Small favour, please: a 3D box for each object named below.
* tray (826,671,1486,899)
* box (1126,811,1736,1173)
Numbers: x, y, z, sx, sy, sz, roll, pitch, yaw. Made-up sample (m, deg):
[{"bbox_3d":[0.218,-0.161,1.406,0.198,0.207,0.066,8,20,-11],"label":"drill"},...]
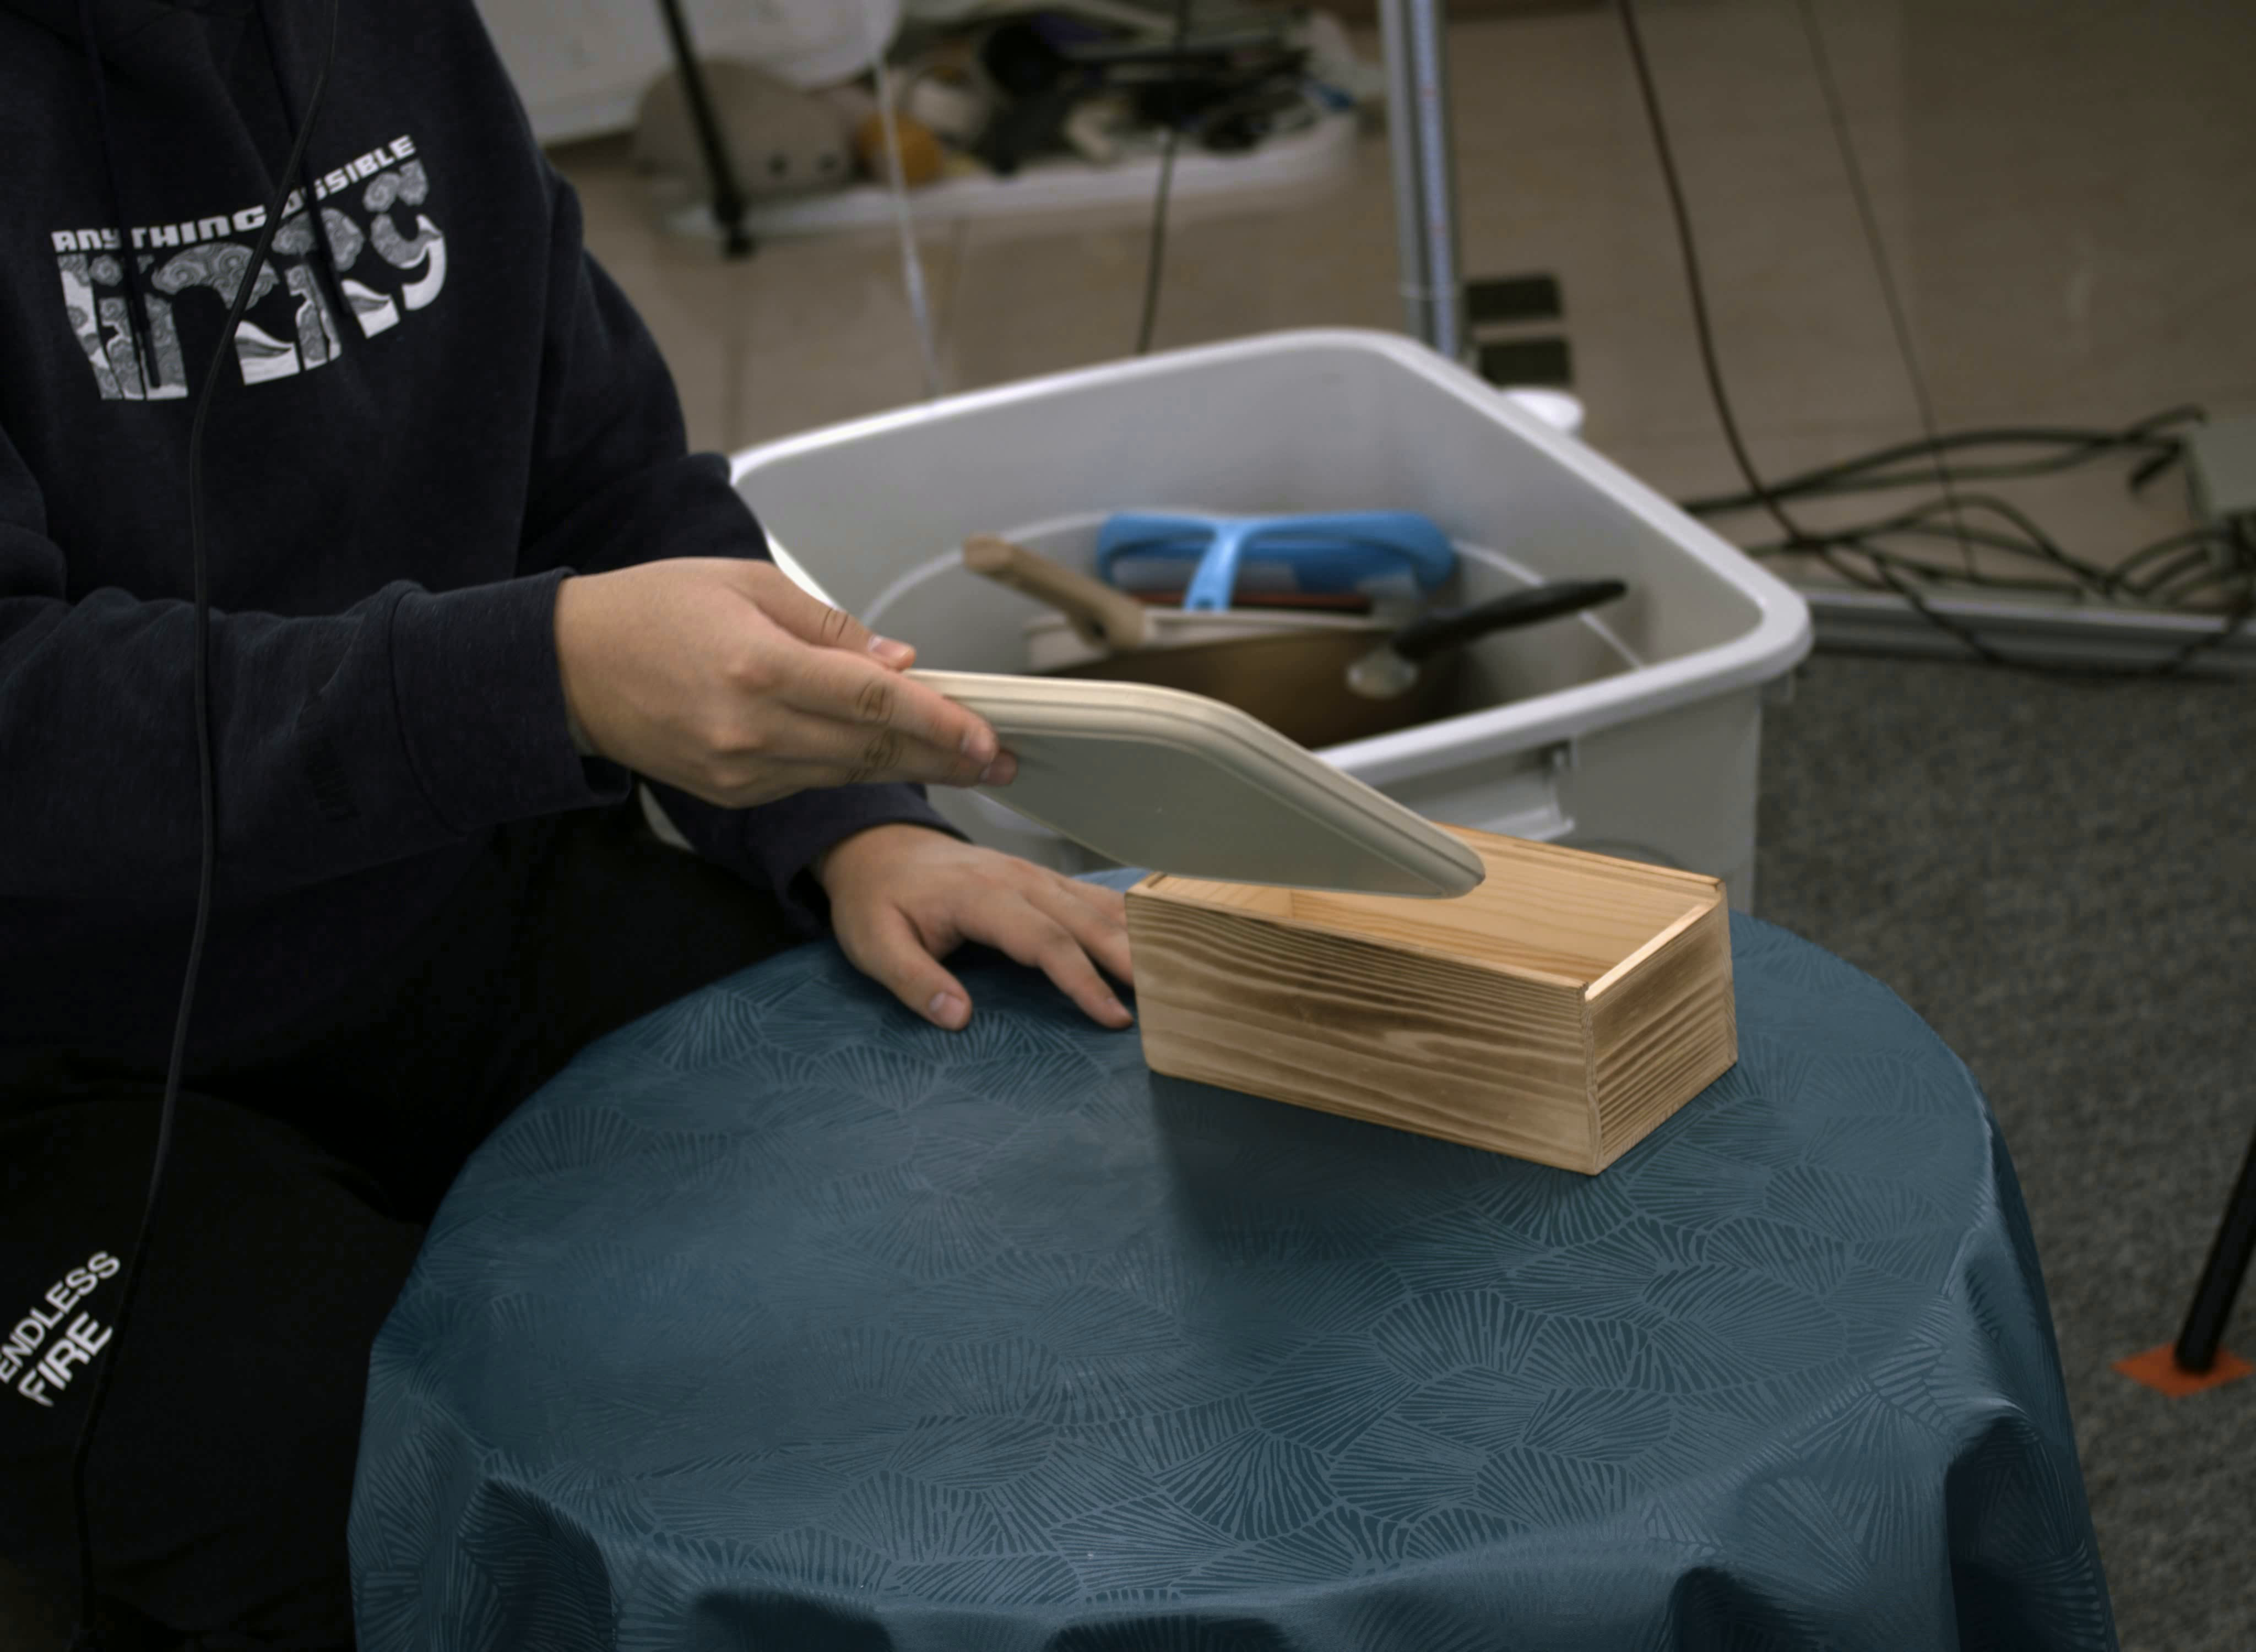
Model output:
[{"bbox_3d":[0.011,-0.012,2.042,0.170,0.017,0.241,4,-13,33],"label":"tray"},{"bbox_3d":[0.117,0.058,2.200,0.210,0.081,0.106,12,30,35],"label":"box"}]
